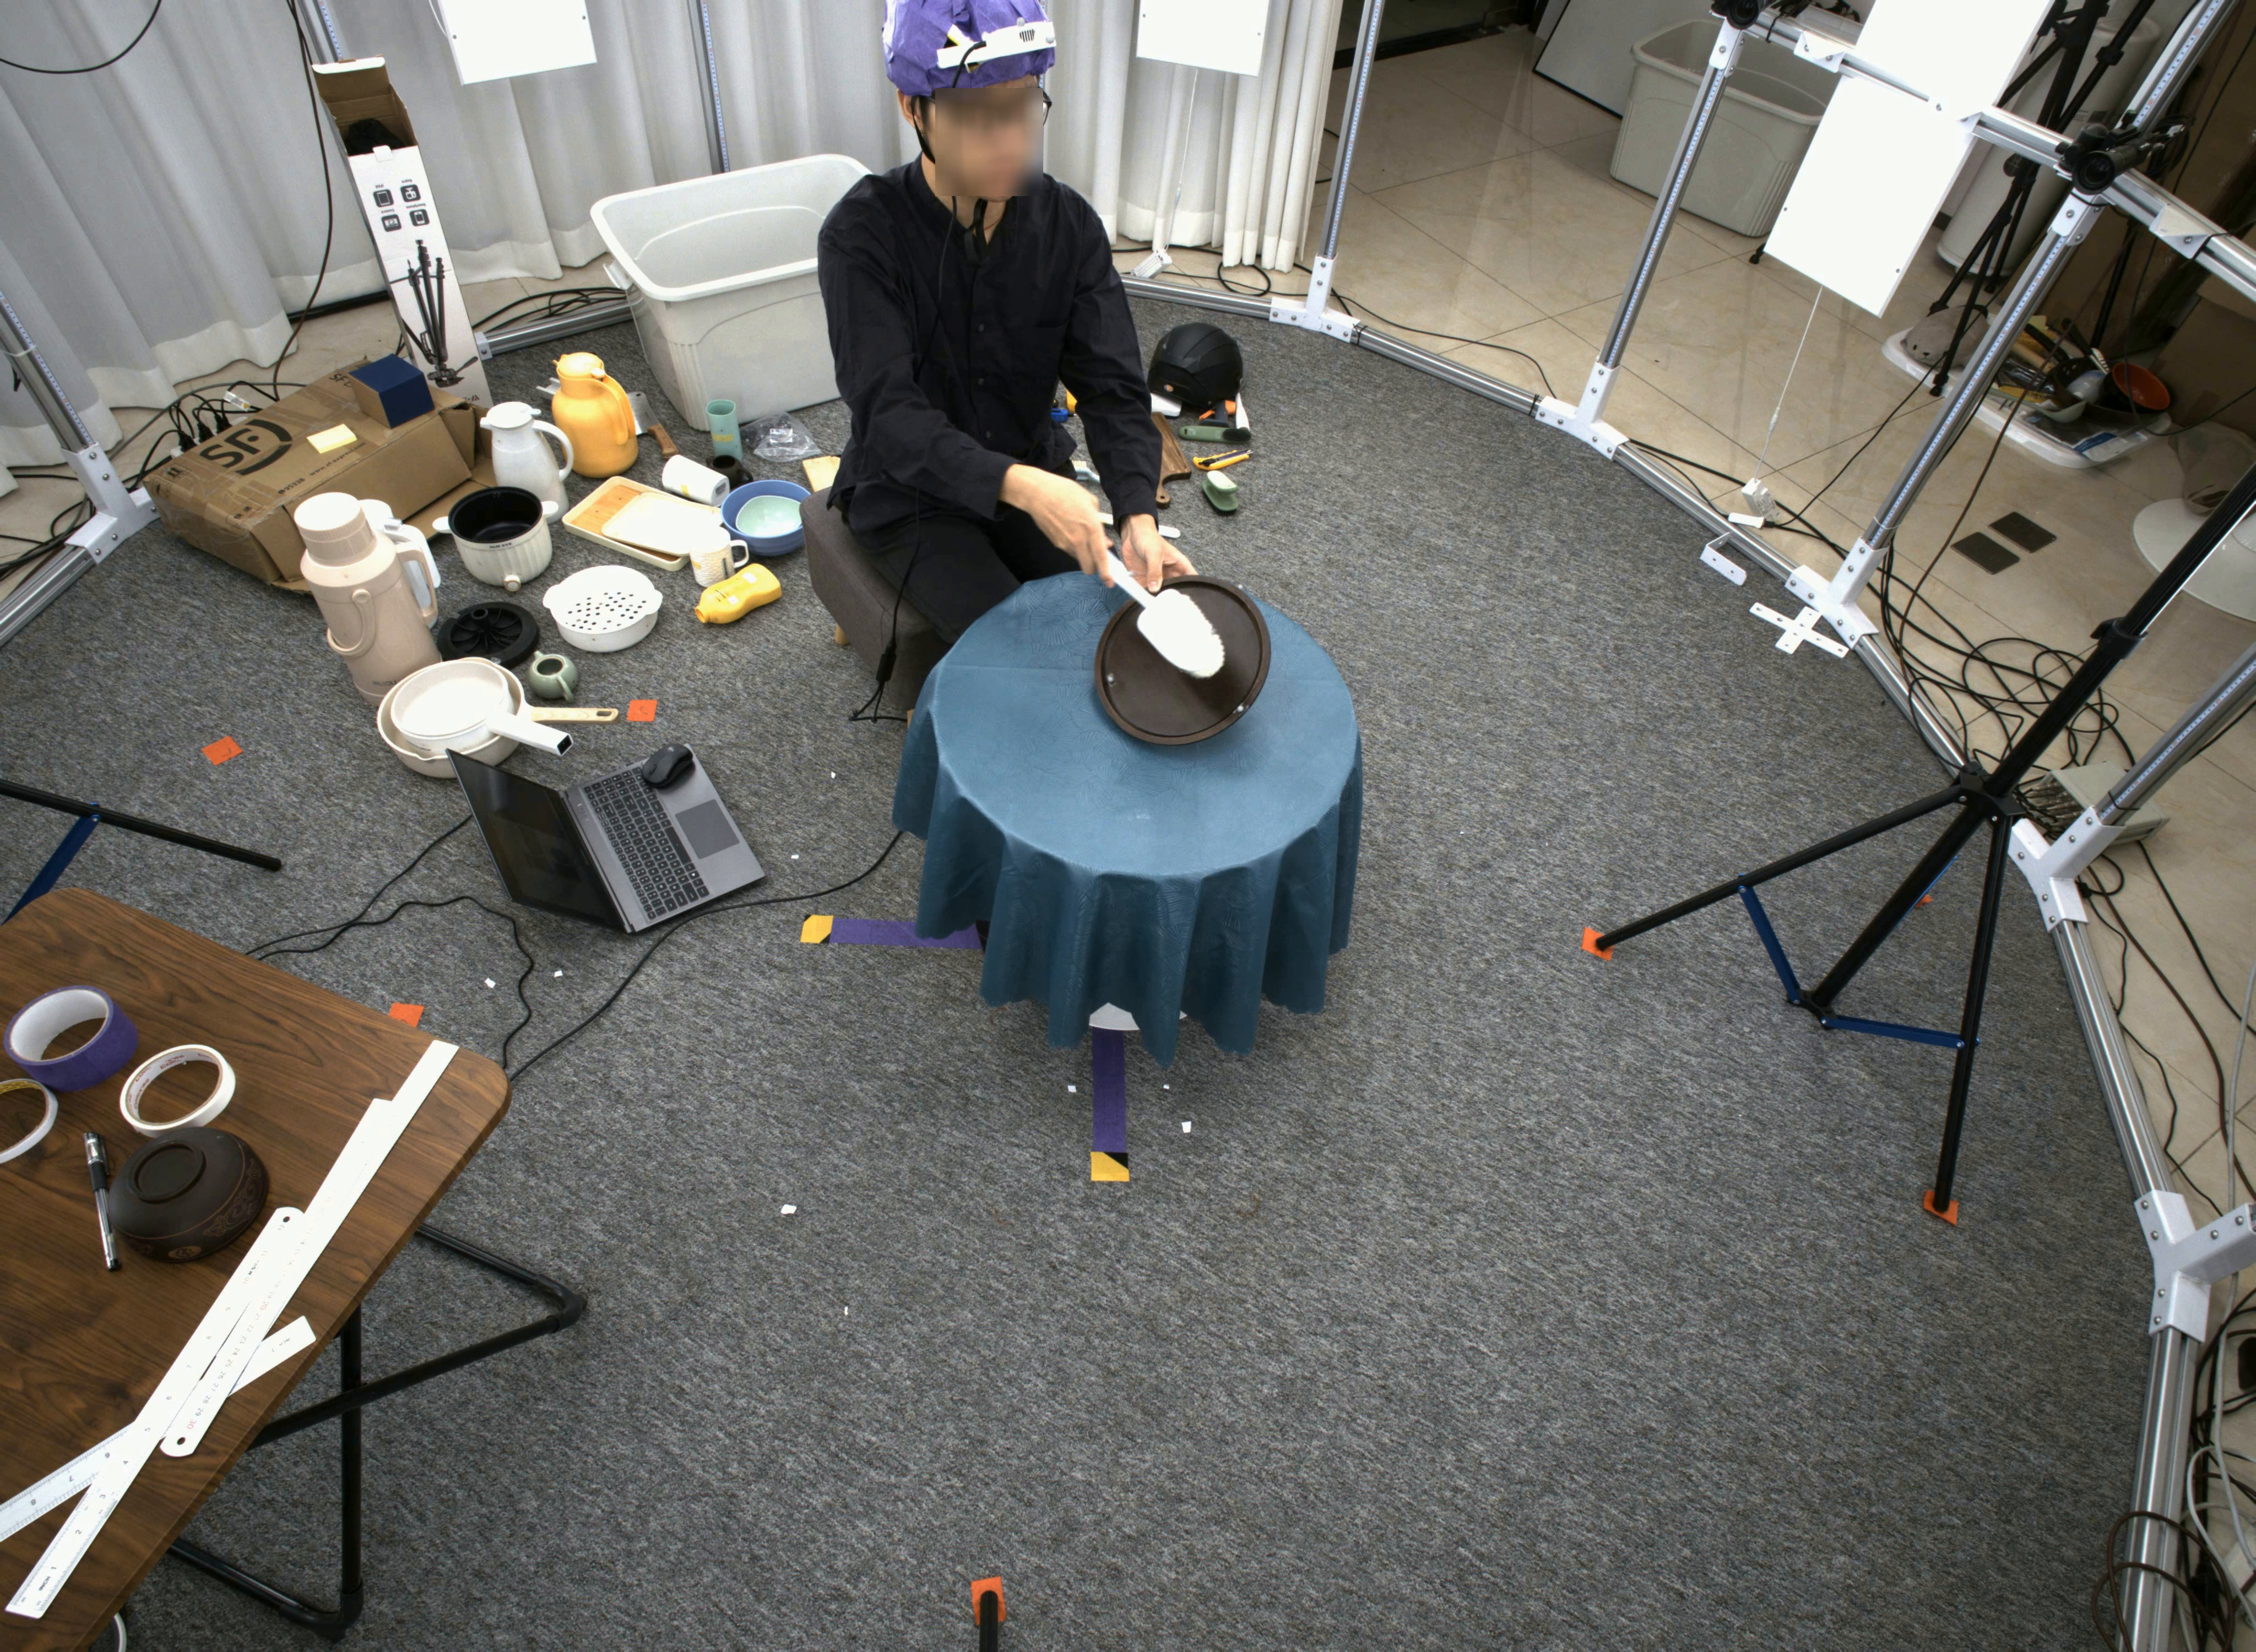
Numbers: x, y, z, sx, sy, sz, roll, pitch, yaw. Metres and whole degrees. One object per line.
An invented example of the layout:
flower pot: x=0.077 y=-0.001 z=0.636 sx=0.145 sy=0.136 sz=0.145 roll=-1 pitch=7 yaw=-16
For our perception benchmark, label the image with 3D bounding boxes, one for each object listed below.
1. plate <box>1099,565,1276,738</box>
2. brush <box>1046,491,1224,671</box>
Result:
plate: x=0.082 y=-0.241 z=1.781 sx=0.255 sy=0.028 sz=0.259 roll=-6 pitch=71 yaw=18
brush: x=0.015 y=-0.330 z=1.714 sx=0.083 sy=0.083 sz=0.329 roll=-37 pitch=74 yaw=-19
